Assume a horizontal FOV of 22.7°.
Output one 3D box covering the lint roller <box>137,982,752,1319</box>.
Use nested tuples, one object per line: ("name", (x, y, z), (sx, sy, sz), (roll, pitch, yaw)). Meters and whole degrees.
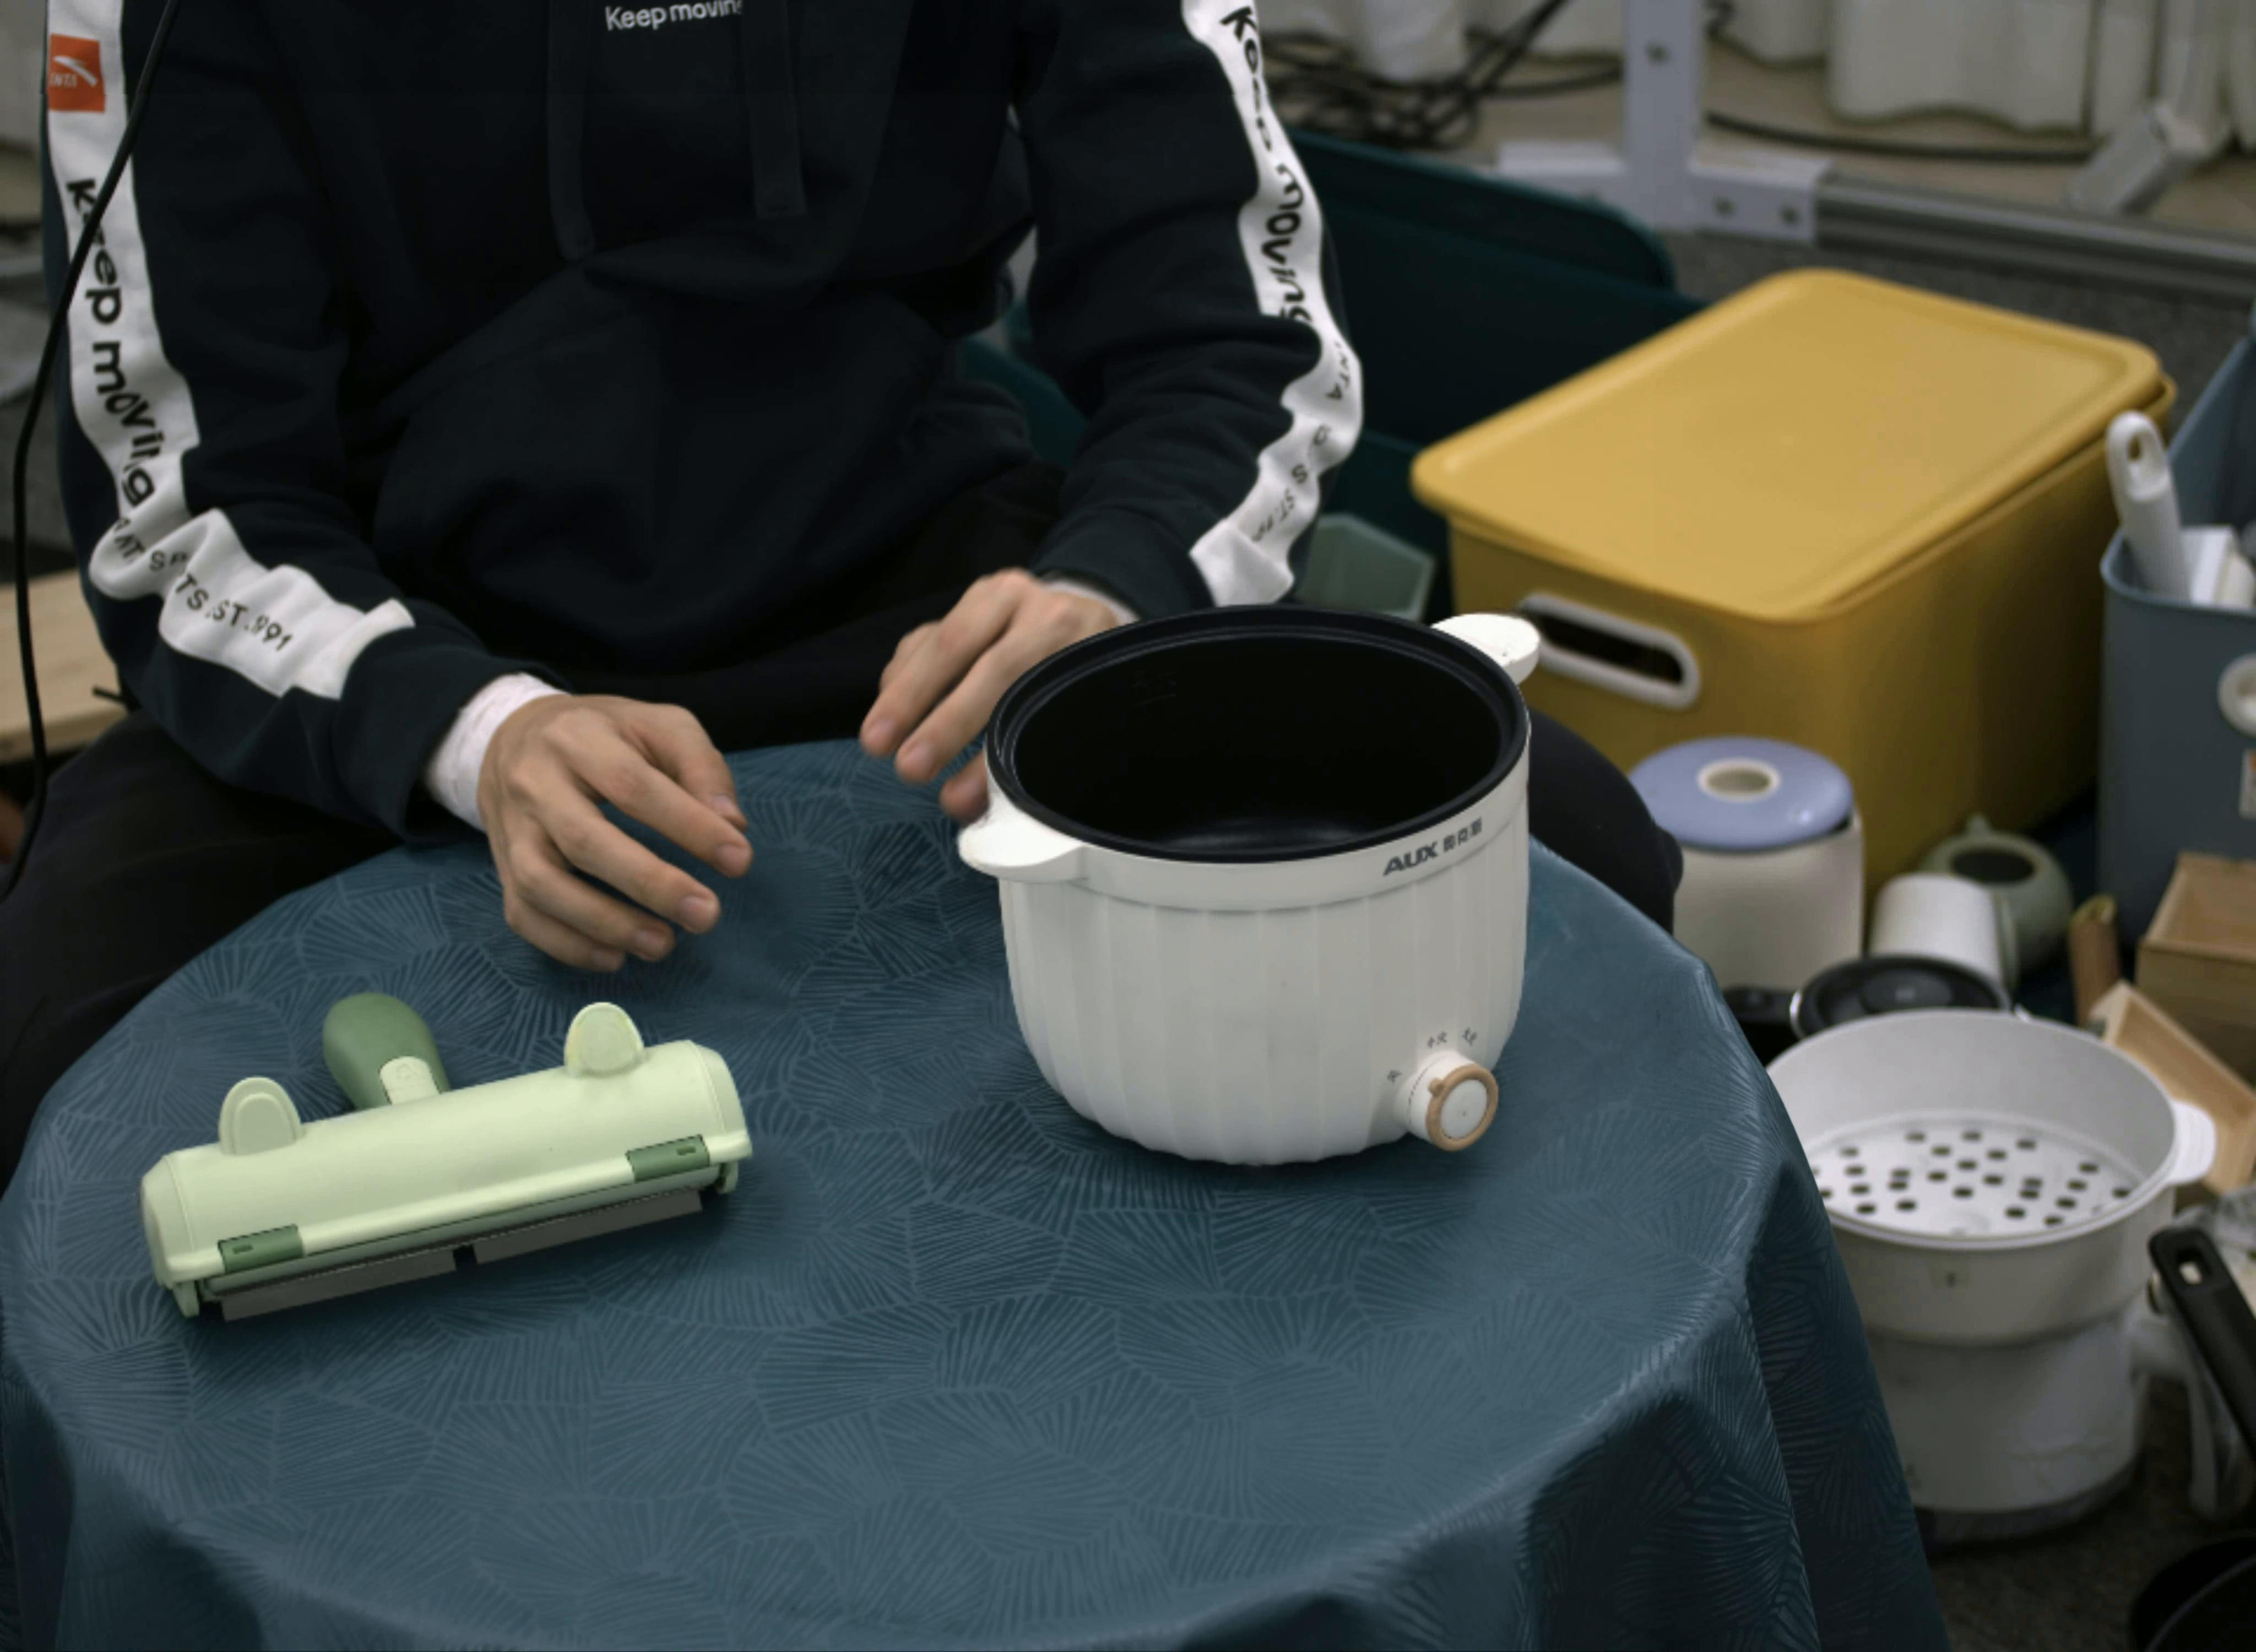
("lint roller", (-0.242, 0.082, 1.879), (0.199, 0.081, 0.185), (-12, 34, -16))

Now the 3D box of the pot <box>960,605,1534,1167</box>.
("pot", (0.050, 0.026, 1.892), (0.243, 0.141, 0.190), (-24, 31, -33))
